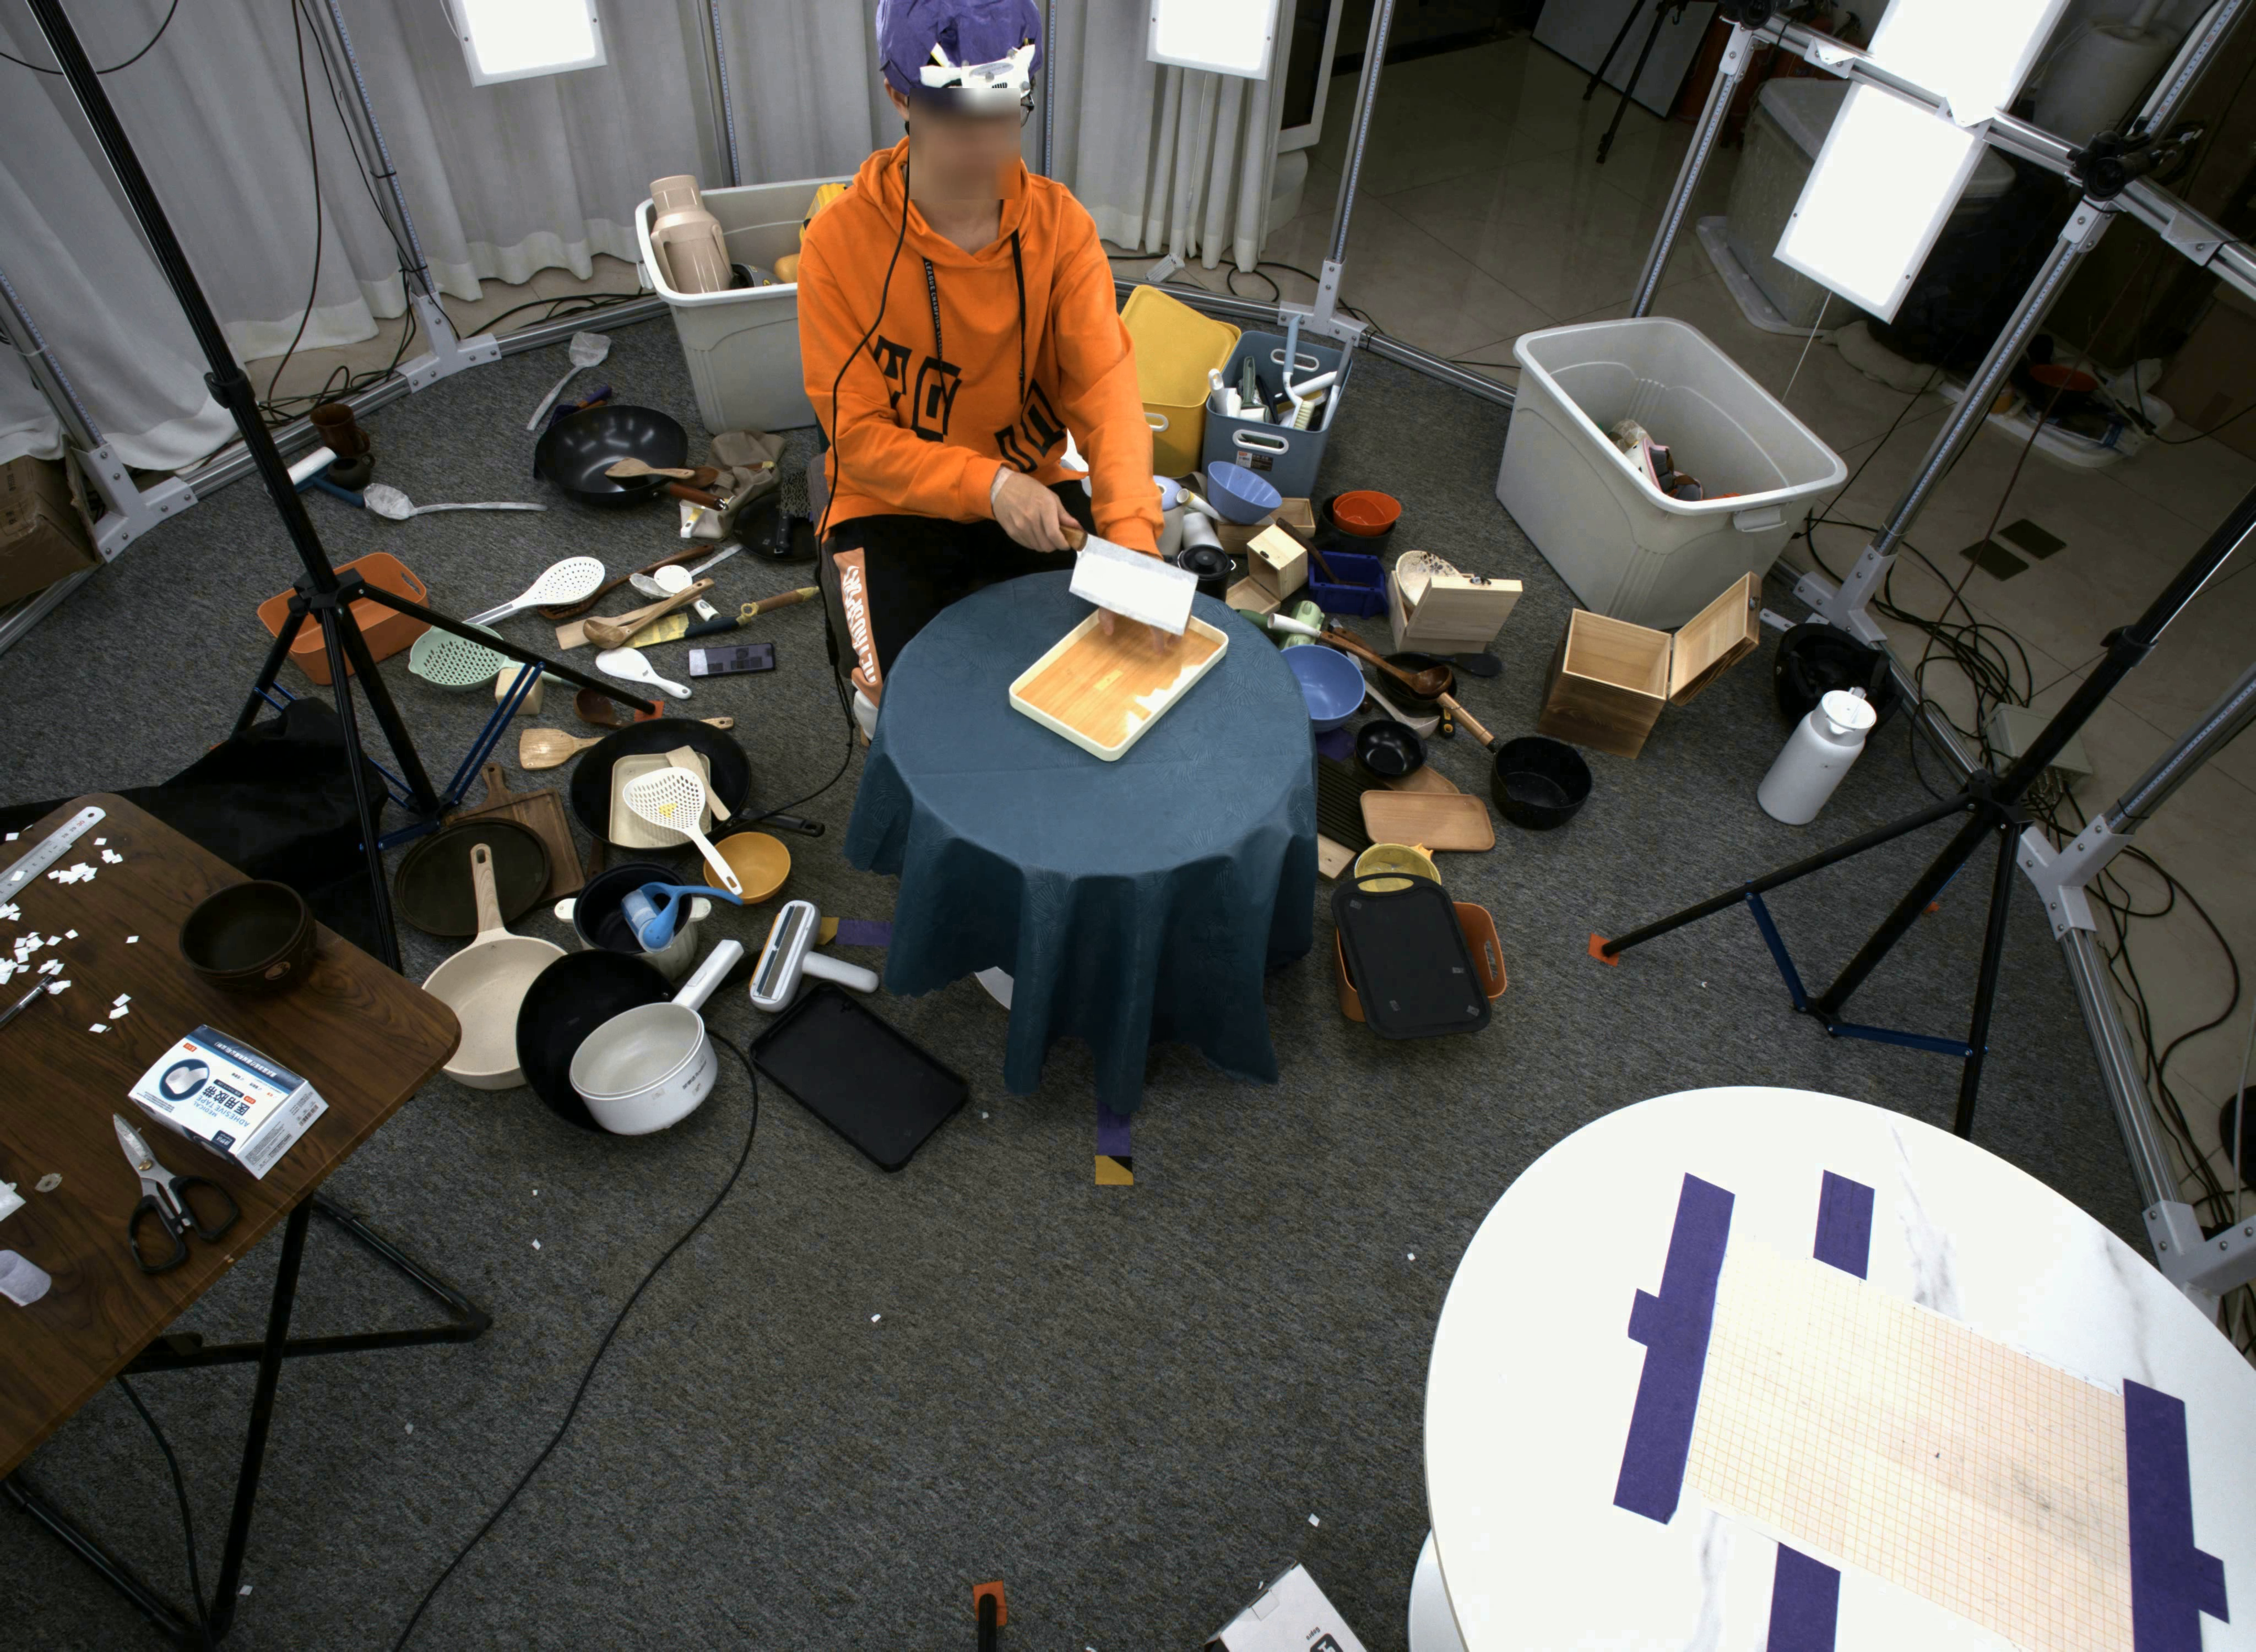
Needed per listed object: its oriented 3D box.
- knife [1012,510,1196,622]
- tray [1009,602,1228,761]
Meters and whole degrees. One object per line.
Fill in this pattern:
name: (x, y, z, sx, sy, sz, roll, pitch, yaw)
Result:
knife: (-0.042, -0.365, 1.819, 0.309, 0.091, 0.021, 25, 25, 23)
tray: (-0.009, -0.225, 1.845, 0.193, 0.027, 0.304, 30, 54, 21)
